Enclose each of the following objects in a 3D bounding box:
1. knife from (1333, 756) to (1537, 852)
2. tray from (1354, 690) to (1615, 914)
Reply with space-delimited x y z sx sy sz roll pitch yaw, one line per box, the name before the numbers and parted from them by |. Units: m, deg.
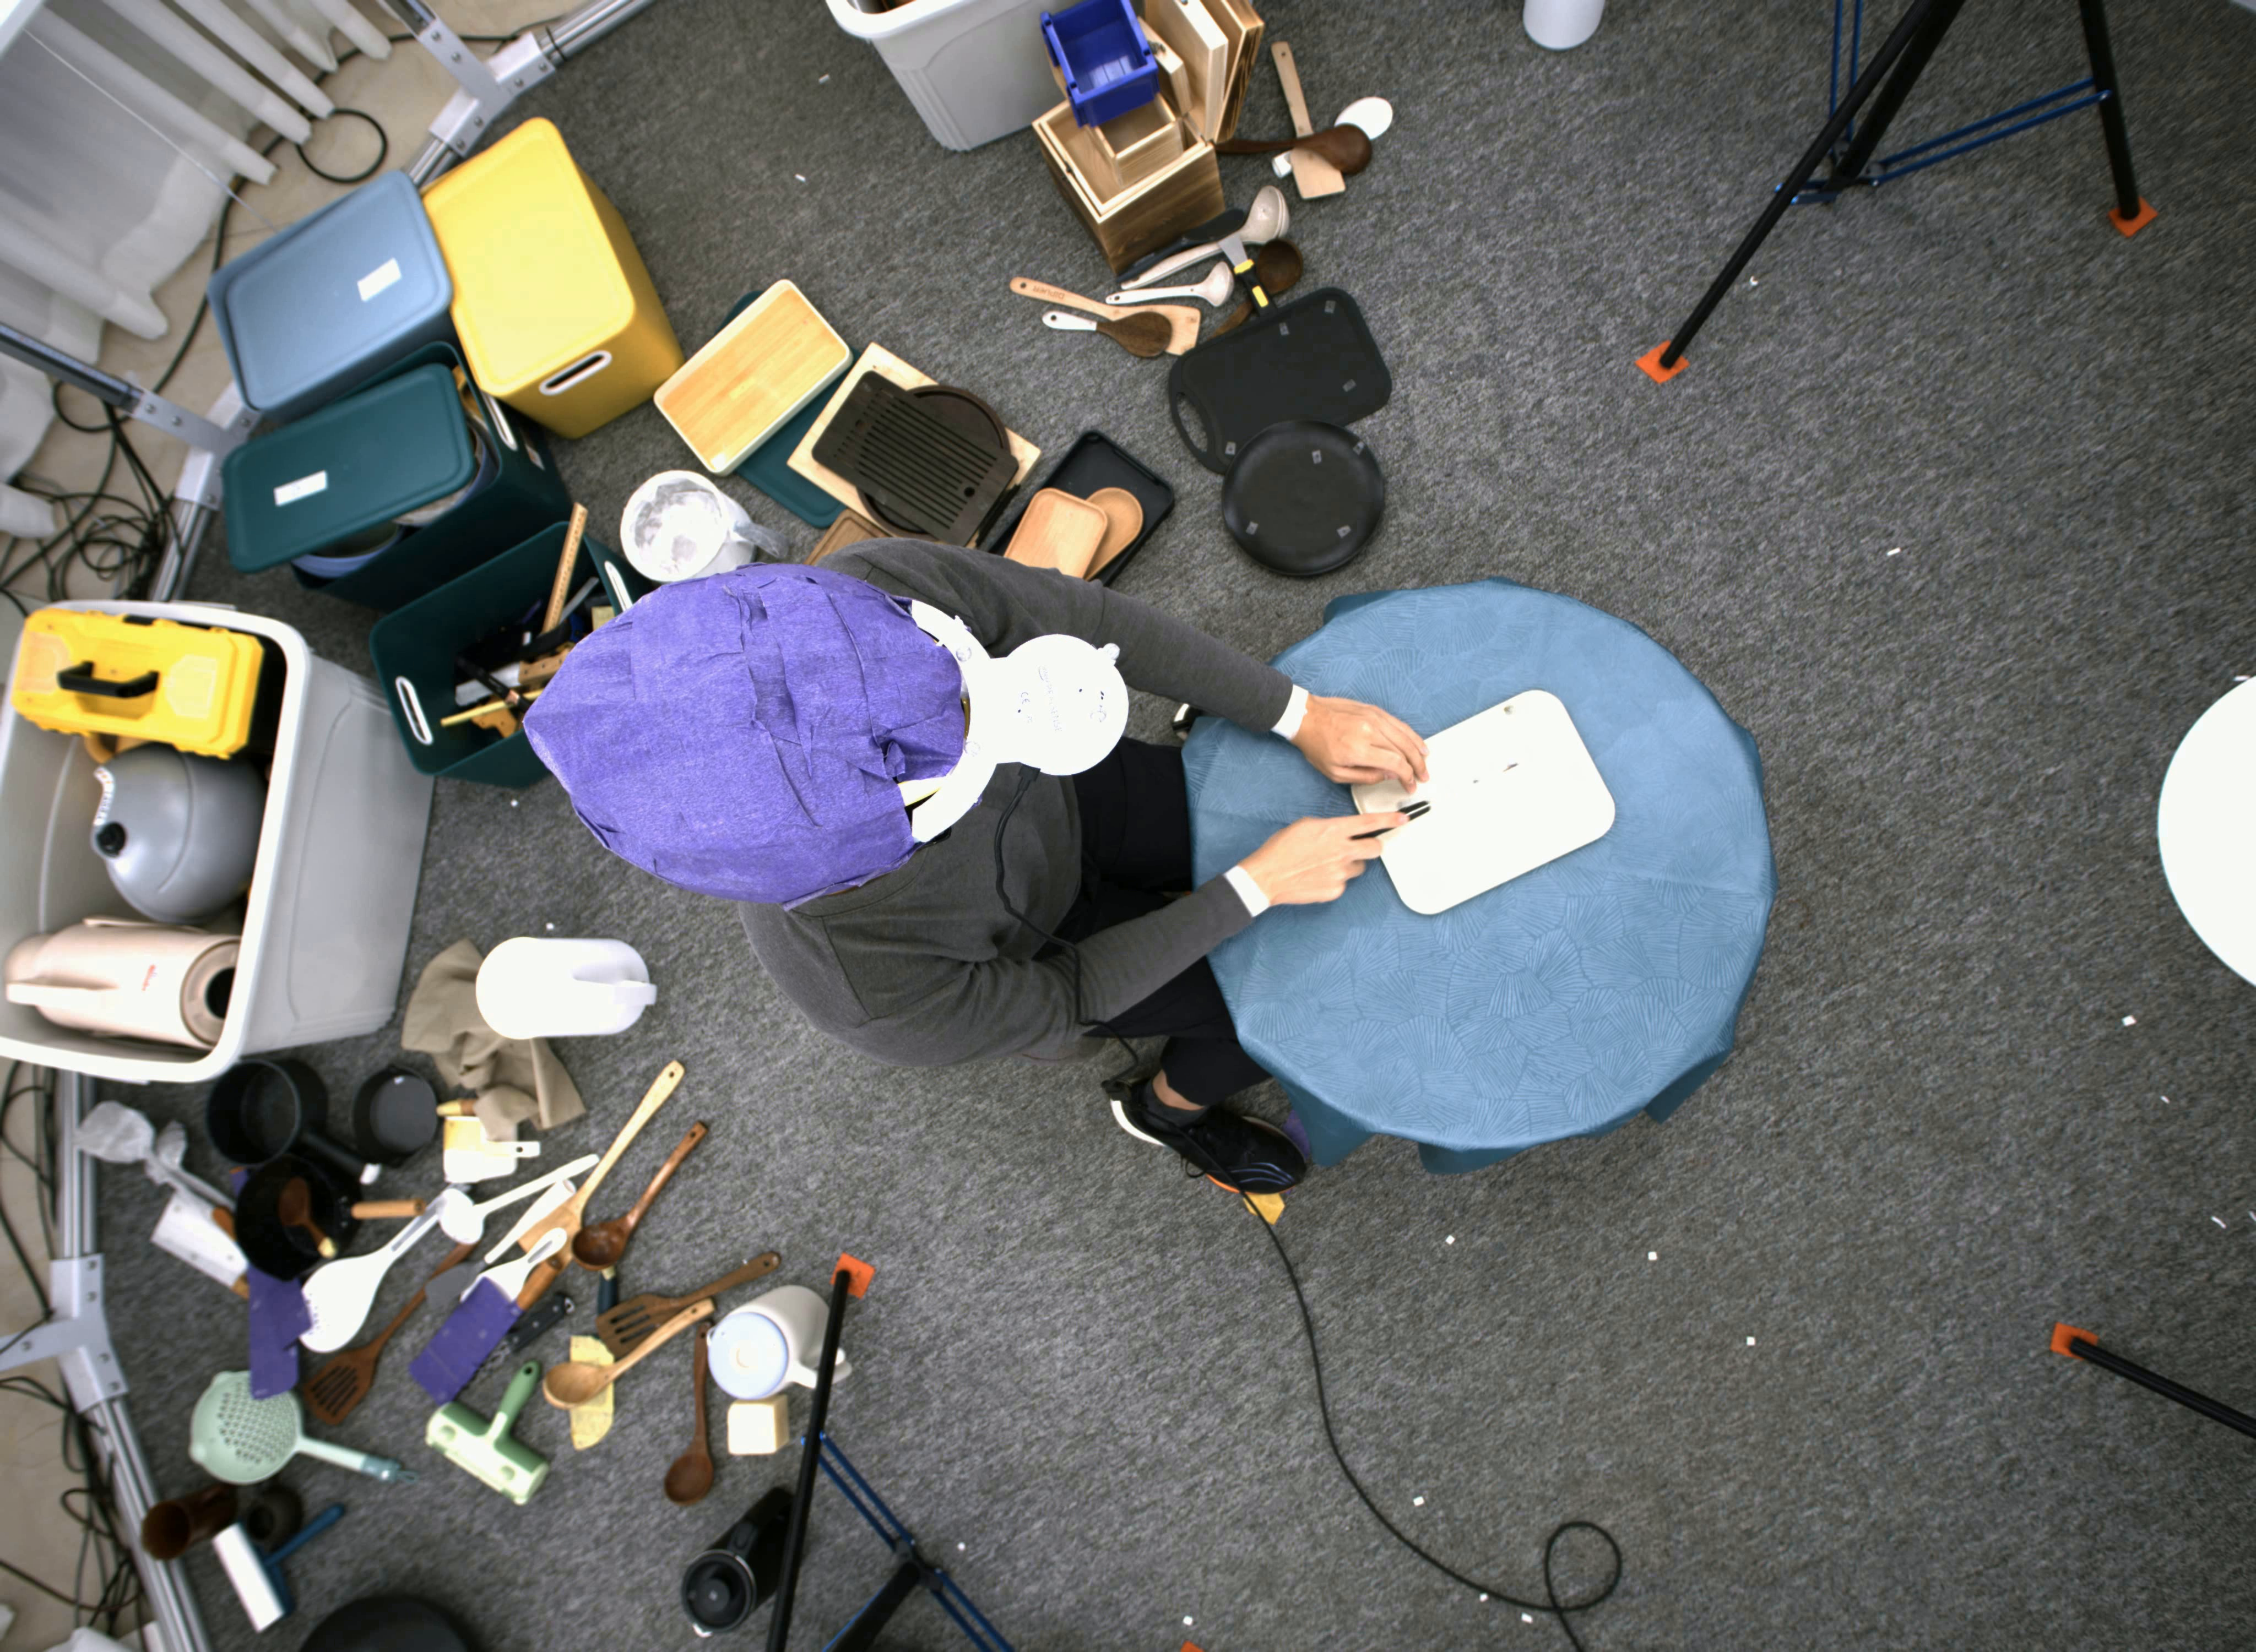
knife | 0.322 -0.028 1.428 0.238 0.024 0.016 -24 90 -3
tray | 0.371 -0.027 1.437 0.241 0.017 0.170 -26 84 8
